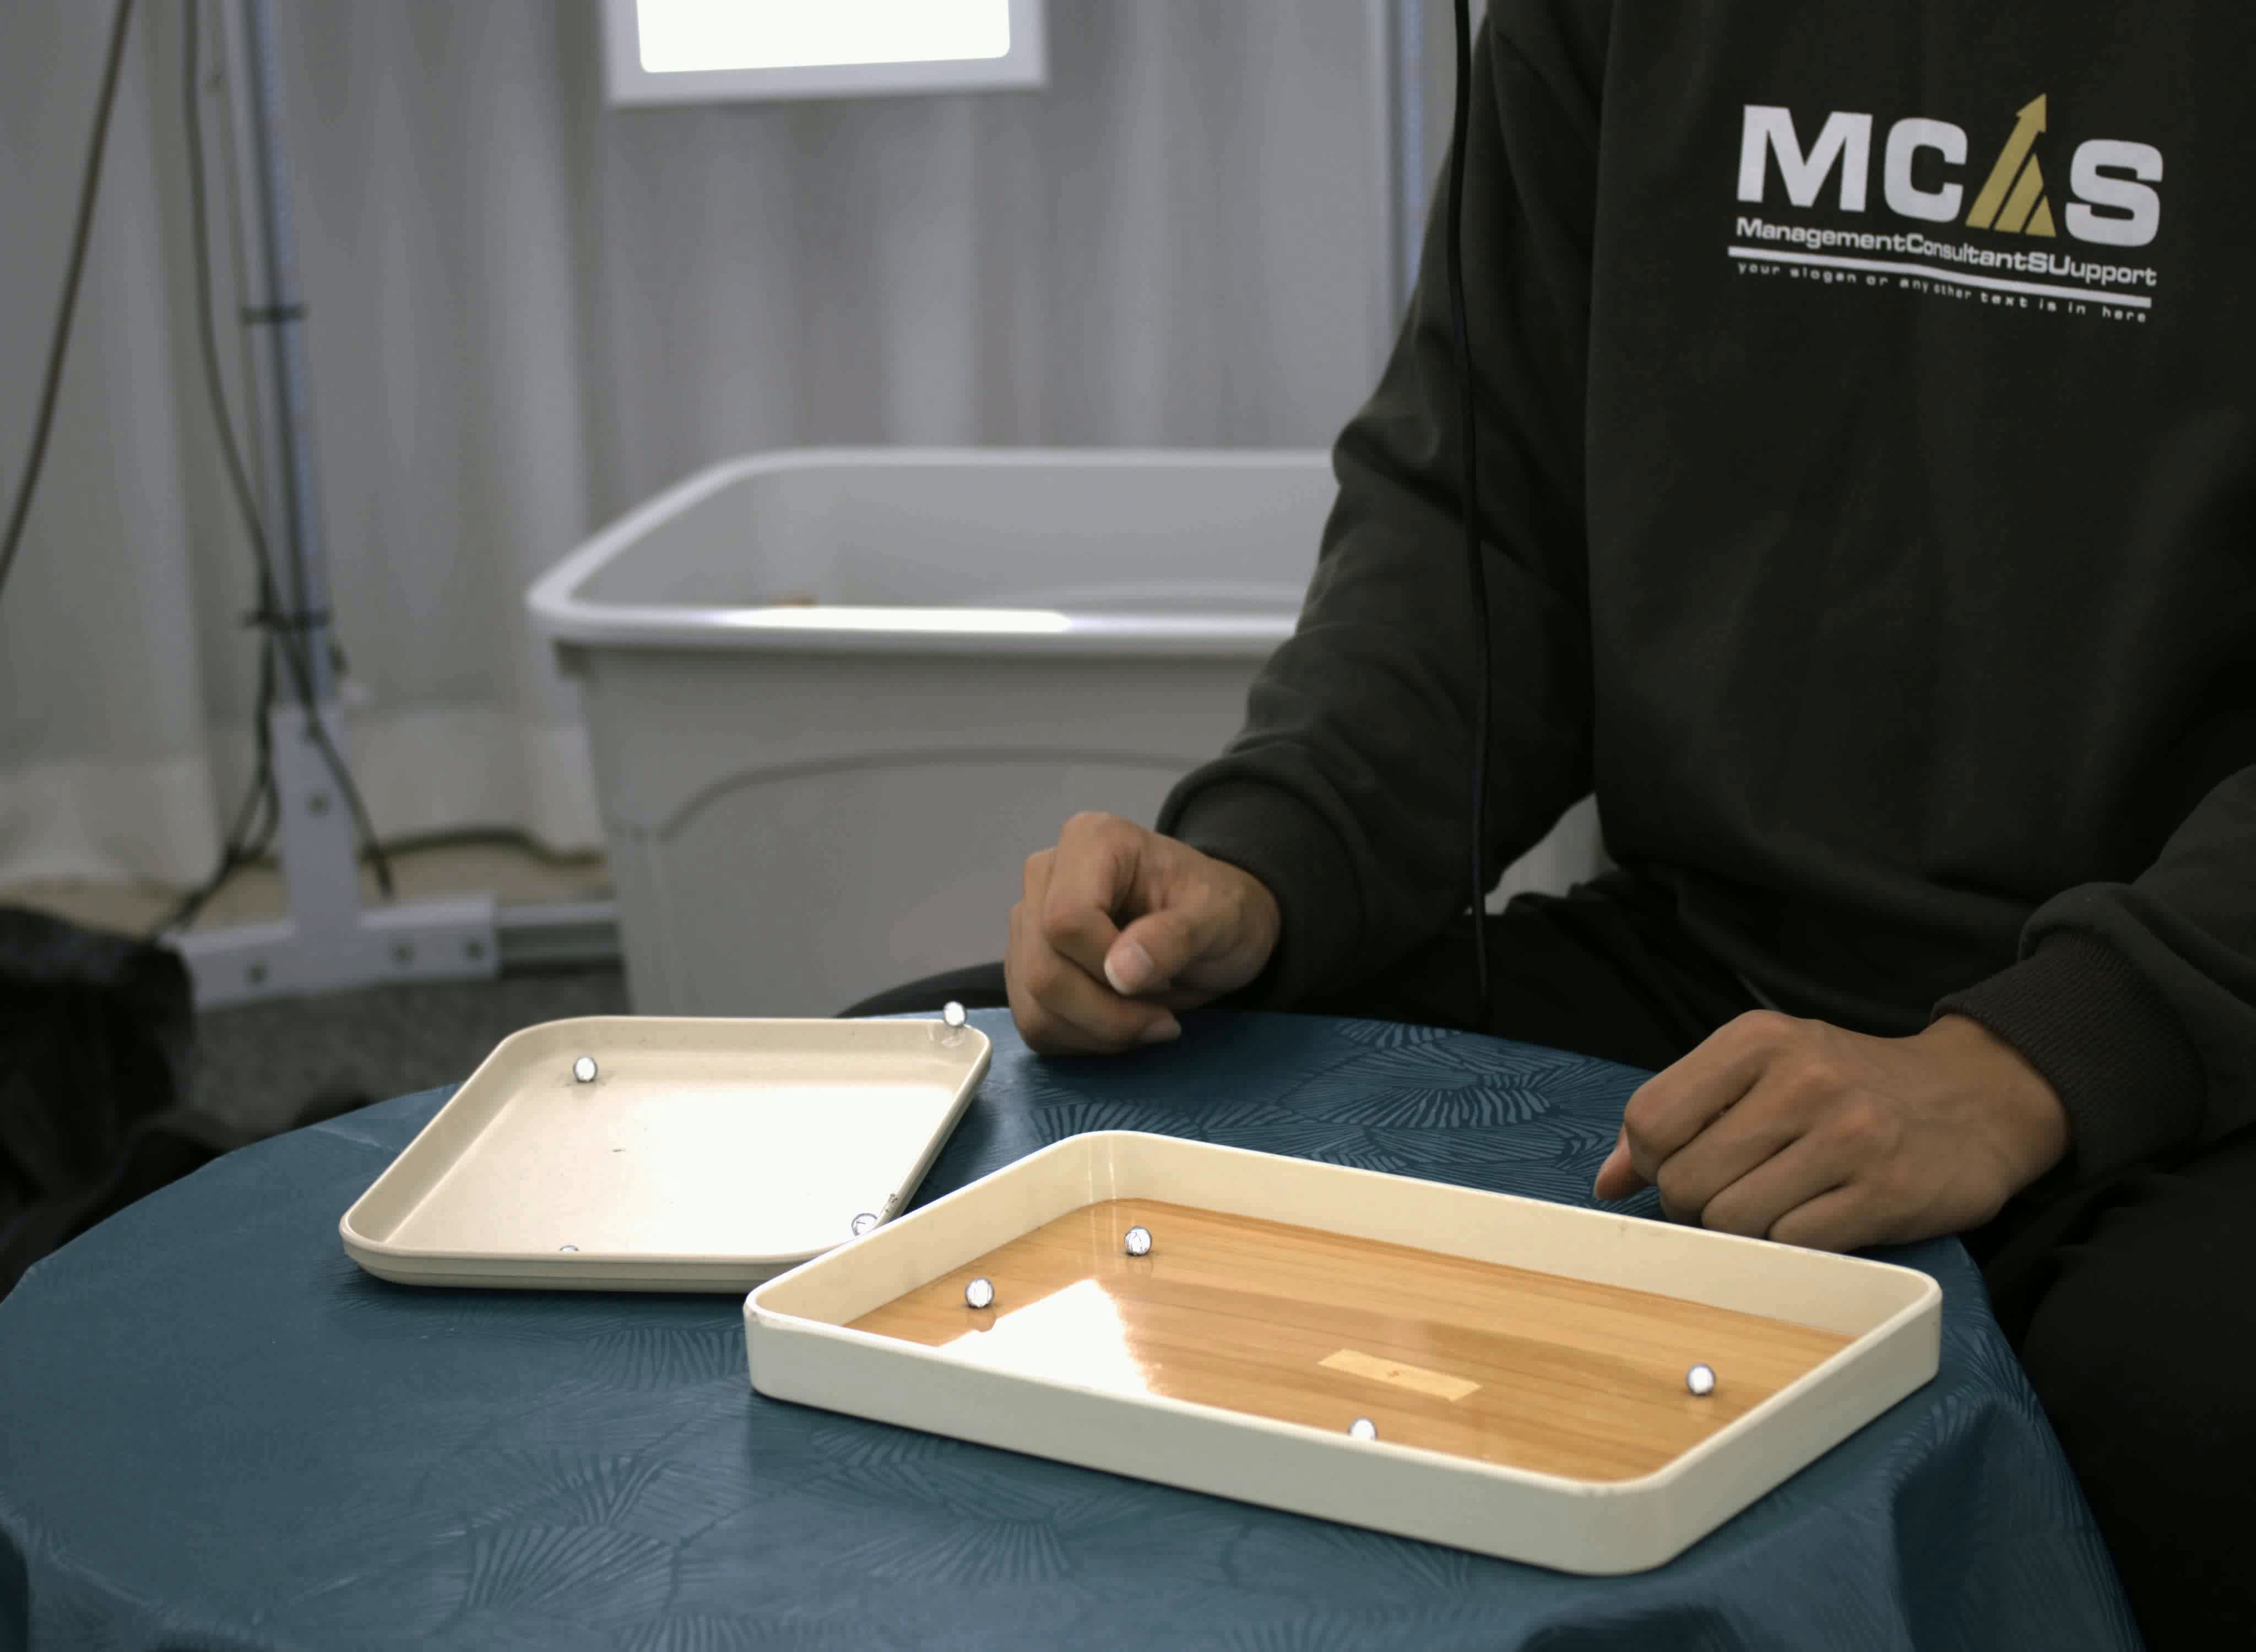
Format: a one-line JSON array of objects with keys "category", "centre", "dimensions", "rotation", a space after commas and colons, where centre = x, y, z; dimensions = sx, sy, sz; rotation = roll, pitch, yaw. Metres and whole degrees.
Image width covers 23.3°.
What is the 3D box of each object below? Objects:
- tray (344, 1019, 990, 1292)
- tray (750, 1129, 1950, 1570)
[{"category": "tray", "centre": [-0.142, 0.104, 1.748], "dimensions": [0.171, 0.017, 0.241], "rotation": [-1, 15, 10]}, {"category": "tray", "centre": [0.062, 0.144, 1.548], "dimensions": [0.301, 0.027, 0.191], "rotation": [8, 18, 34]}]
